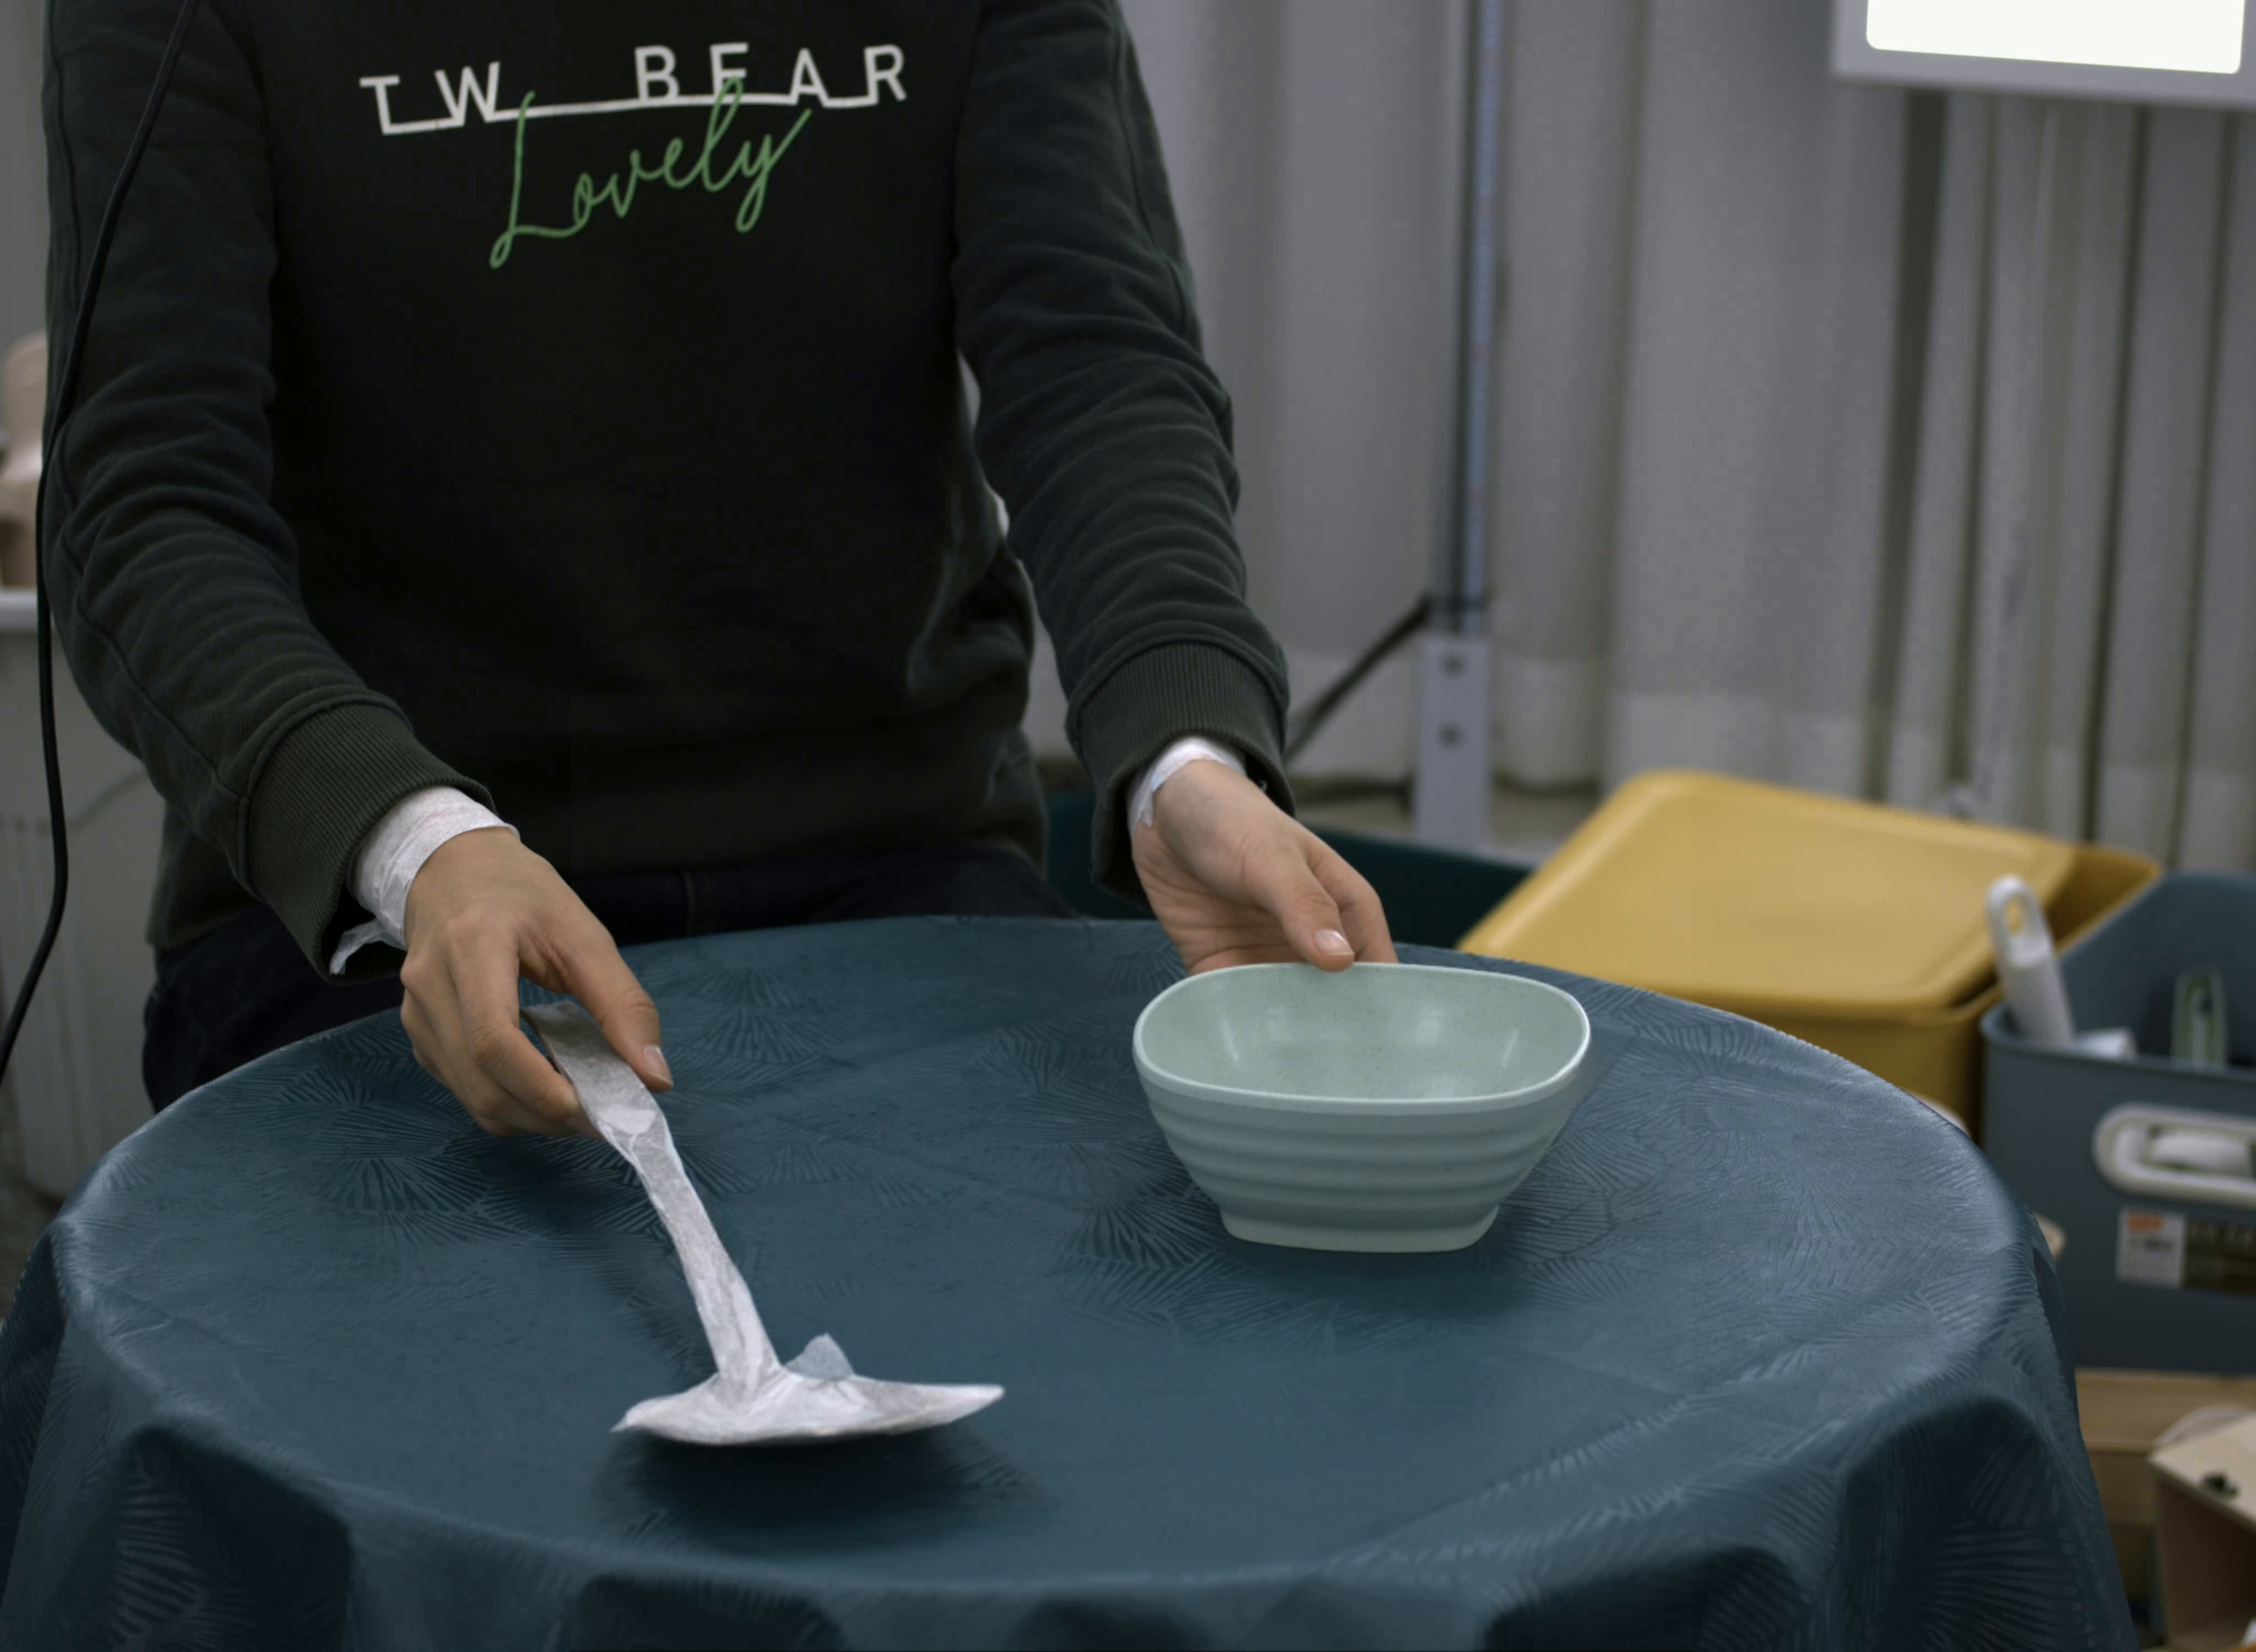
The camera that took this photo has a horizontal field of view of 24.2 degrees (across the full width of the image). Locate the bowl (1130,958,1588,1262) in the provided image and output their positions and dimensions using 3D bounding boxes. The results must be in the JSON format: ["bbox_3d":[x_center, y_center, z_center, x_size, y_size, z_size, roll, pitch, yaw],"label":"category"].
[{"bbox_3d":[0.070,0.090,1.609,0.151,0.059,0.150,2,18,0],"label":"bowl"}]

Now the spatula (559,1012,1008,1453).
[{"bbox_3d":[-0.125,0.109,1.523,0.099,0.045,0.360,-5,23,-17],"label":"spatula"}]
